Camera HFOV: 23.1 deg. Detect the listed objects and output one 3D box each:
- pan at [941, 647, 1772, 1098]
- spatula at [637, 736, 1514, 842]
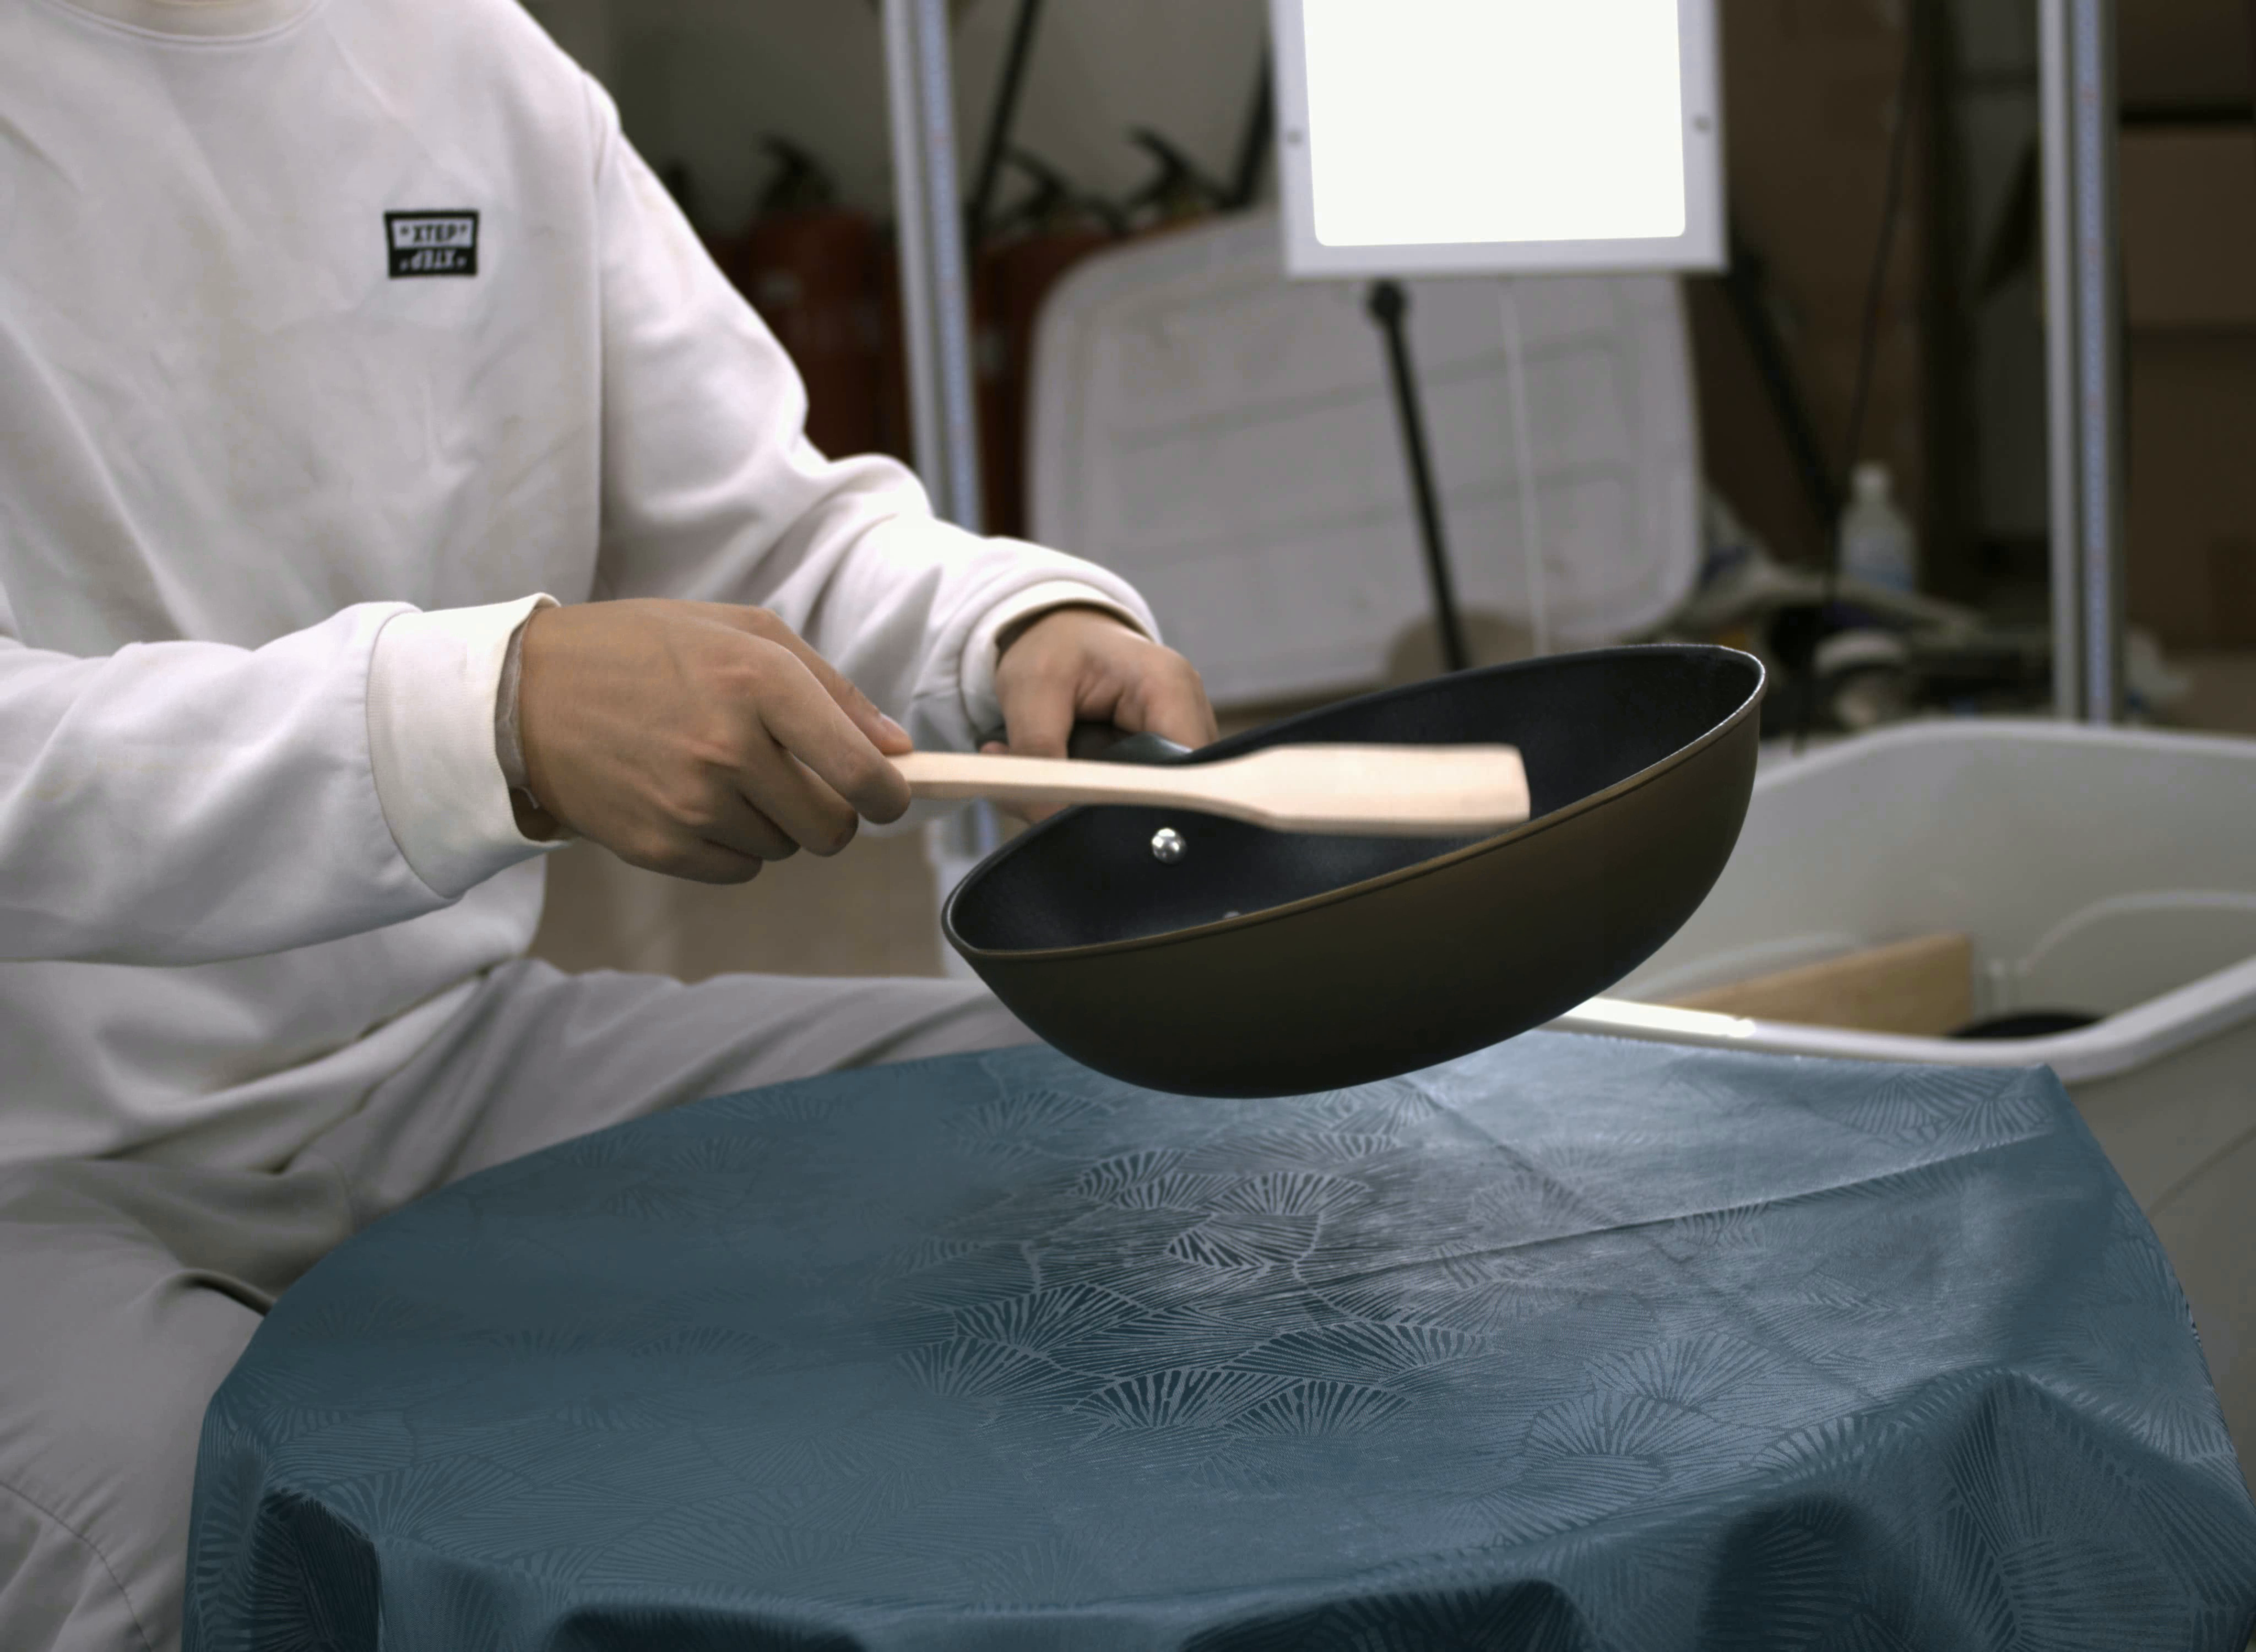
[{"bbox_3d":[0.050,0.015,1.884,0.283,0.087,0.470,-21,12,-18],"label":"pan"},{"bbox_3d":[-0.017,-0.014,1.826,0.292,0.011,0.072,3,20,2],"label":"spatula"}]
